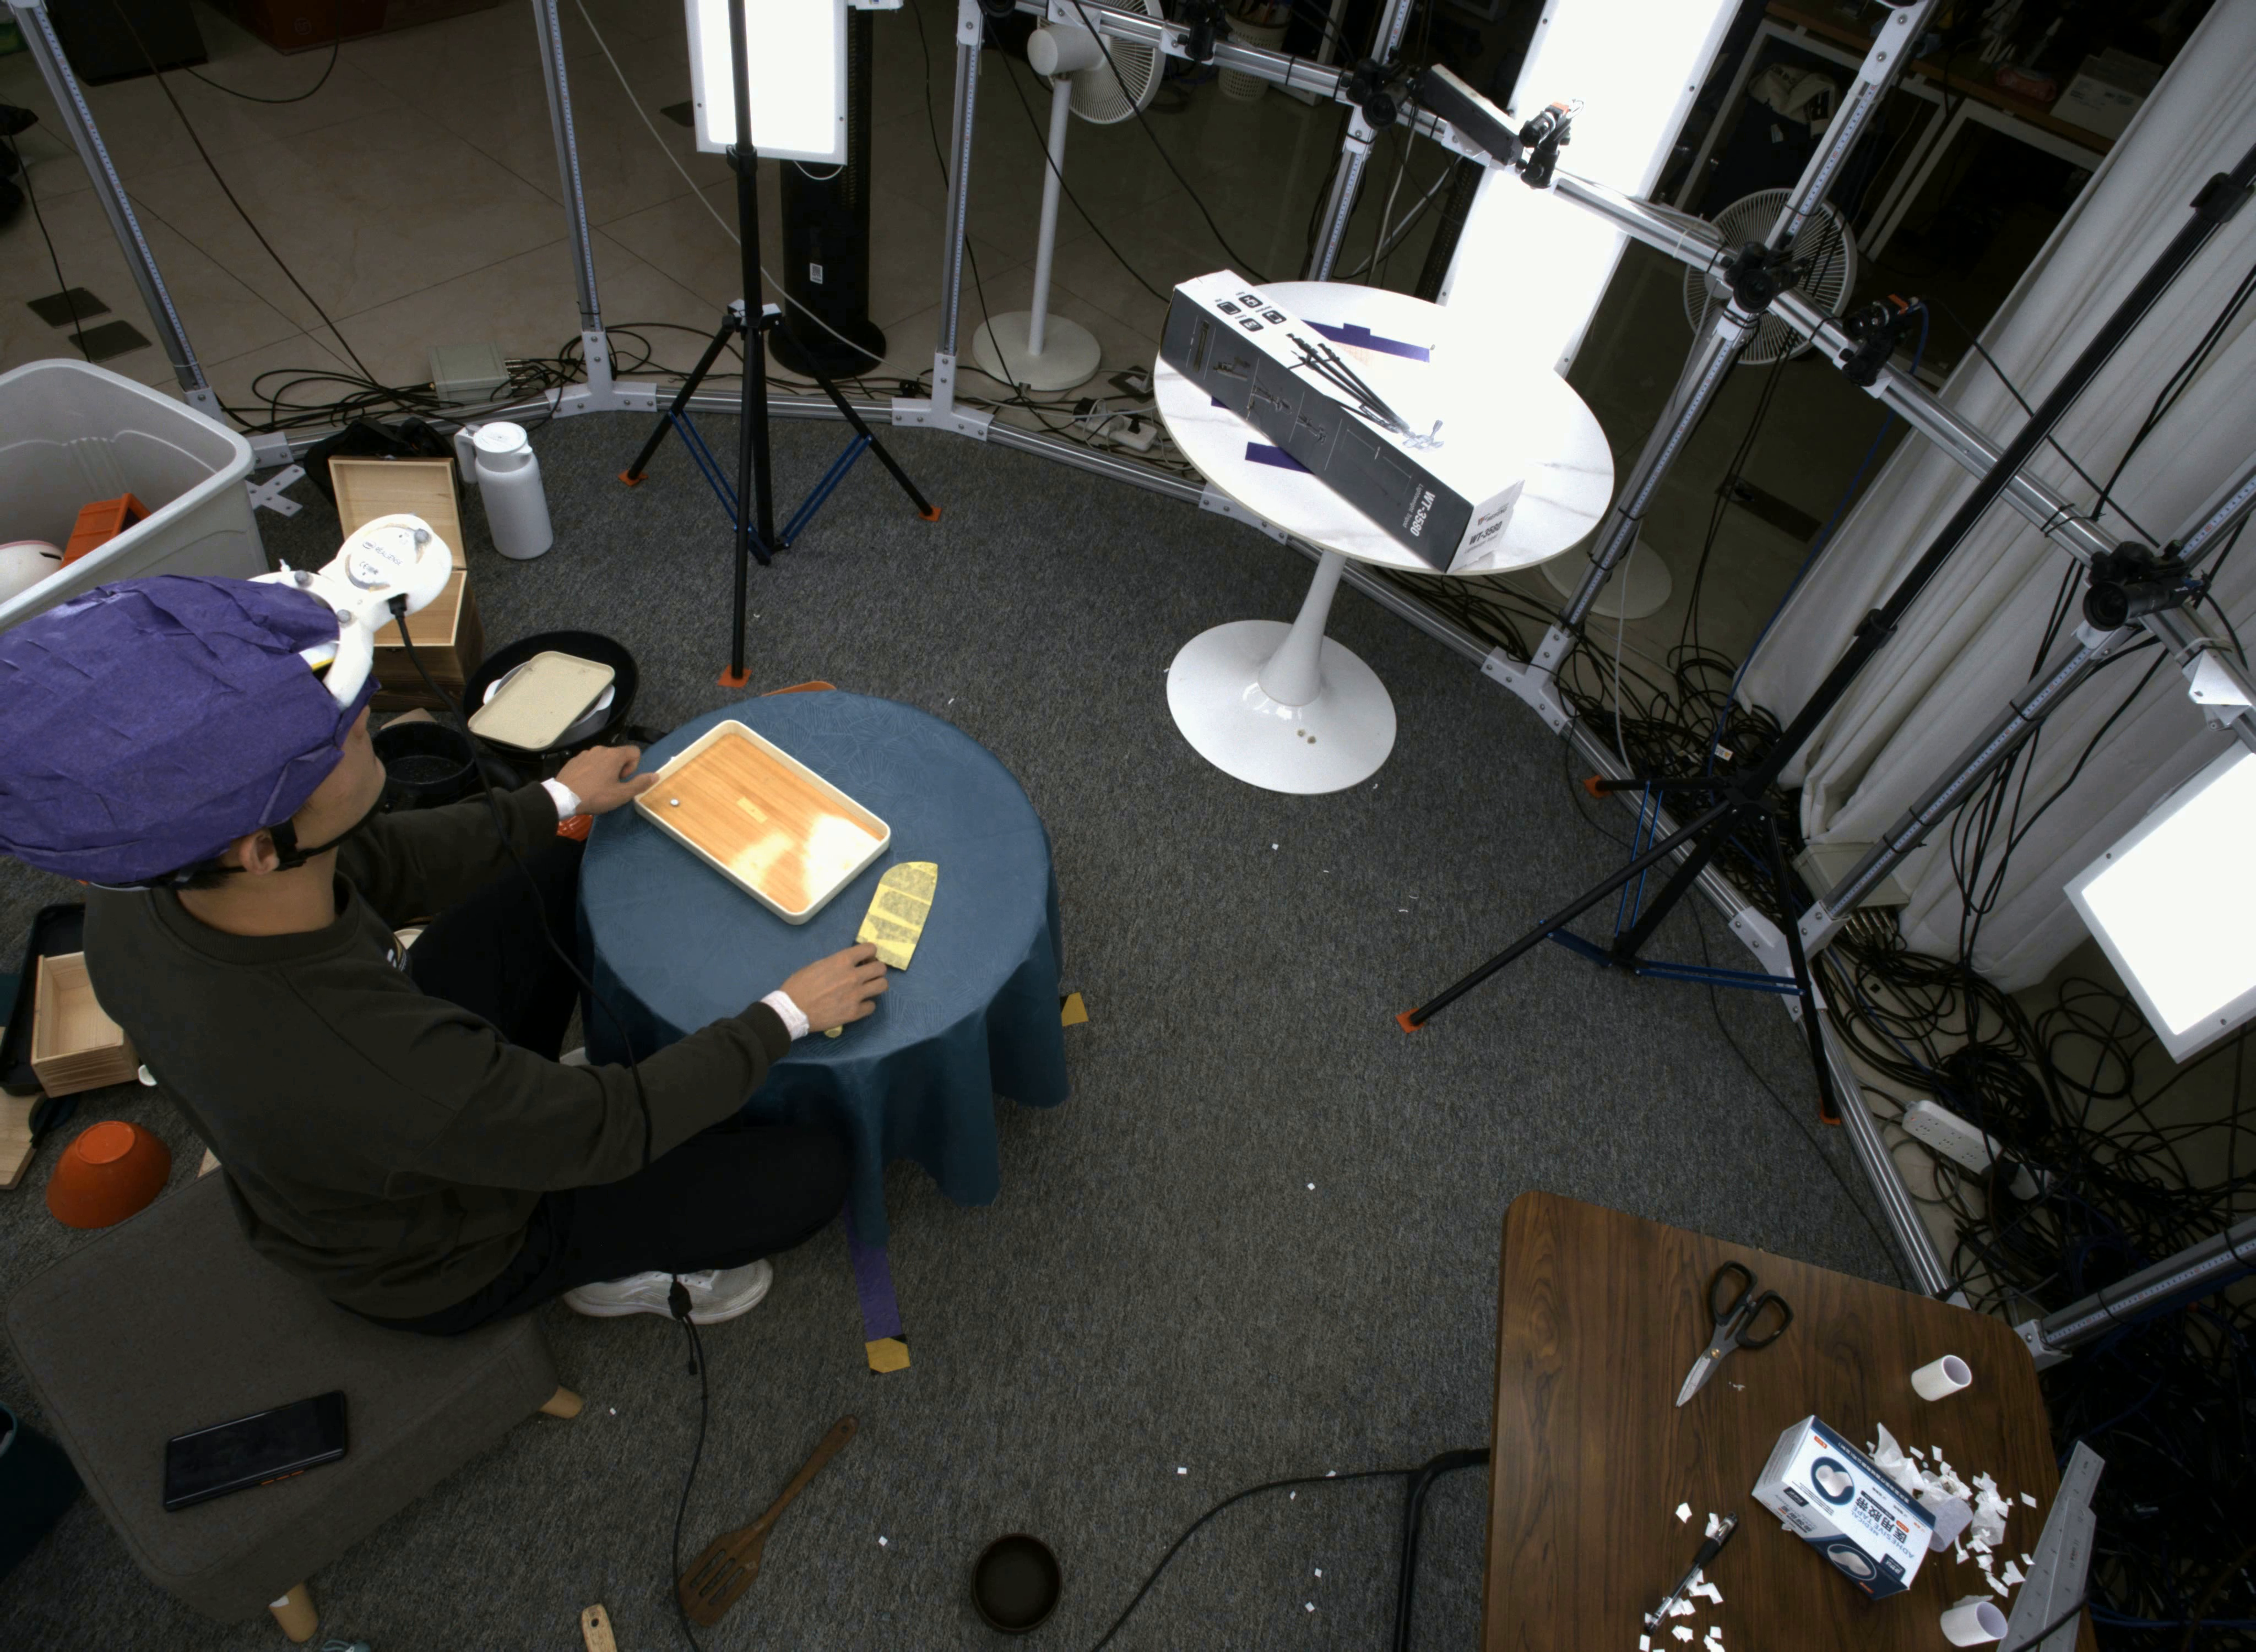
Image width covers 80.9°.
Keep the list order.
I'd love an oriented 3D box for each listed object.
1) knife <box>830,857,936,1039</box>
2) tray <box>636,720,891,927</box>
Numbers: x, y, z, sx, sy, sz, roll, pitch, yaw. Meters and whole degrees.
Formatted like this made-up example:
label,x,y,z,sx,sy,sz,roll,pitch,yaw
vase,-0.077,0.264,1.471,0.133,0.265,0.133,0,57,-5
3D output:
label,x,y,z,sx,sy,sz,roll,pitch,yaw
knife,-0.307,0.147,1.642,0.081,0.027,0.286,24,51,-7
tray,-0.482,-0.010,1.710,0.295,0.028,0.191,34,54,12
